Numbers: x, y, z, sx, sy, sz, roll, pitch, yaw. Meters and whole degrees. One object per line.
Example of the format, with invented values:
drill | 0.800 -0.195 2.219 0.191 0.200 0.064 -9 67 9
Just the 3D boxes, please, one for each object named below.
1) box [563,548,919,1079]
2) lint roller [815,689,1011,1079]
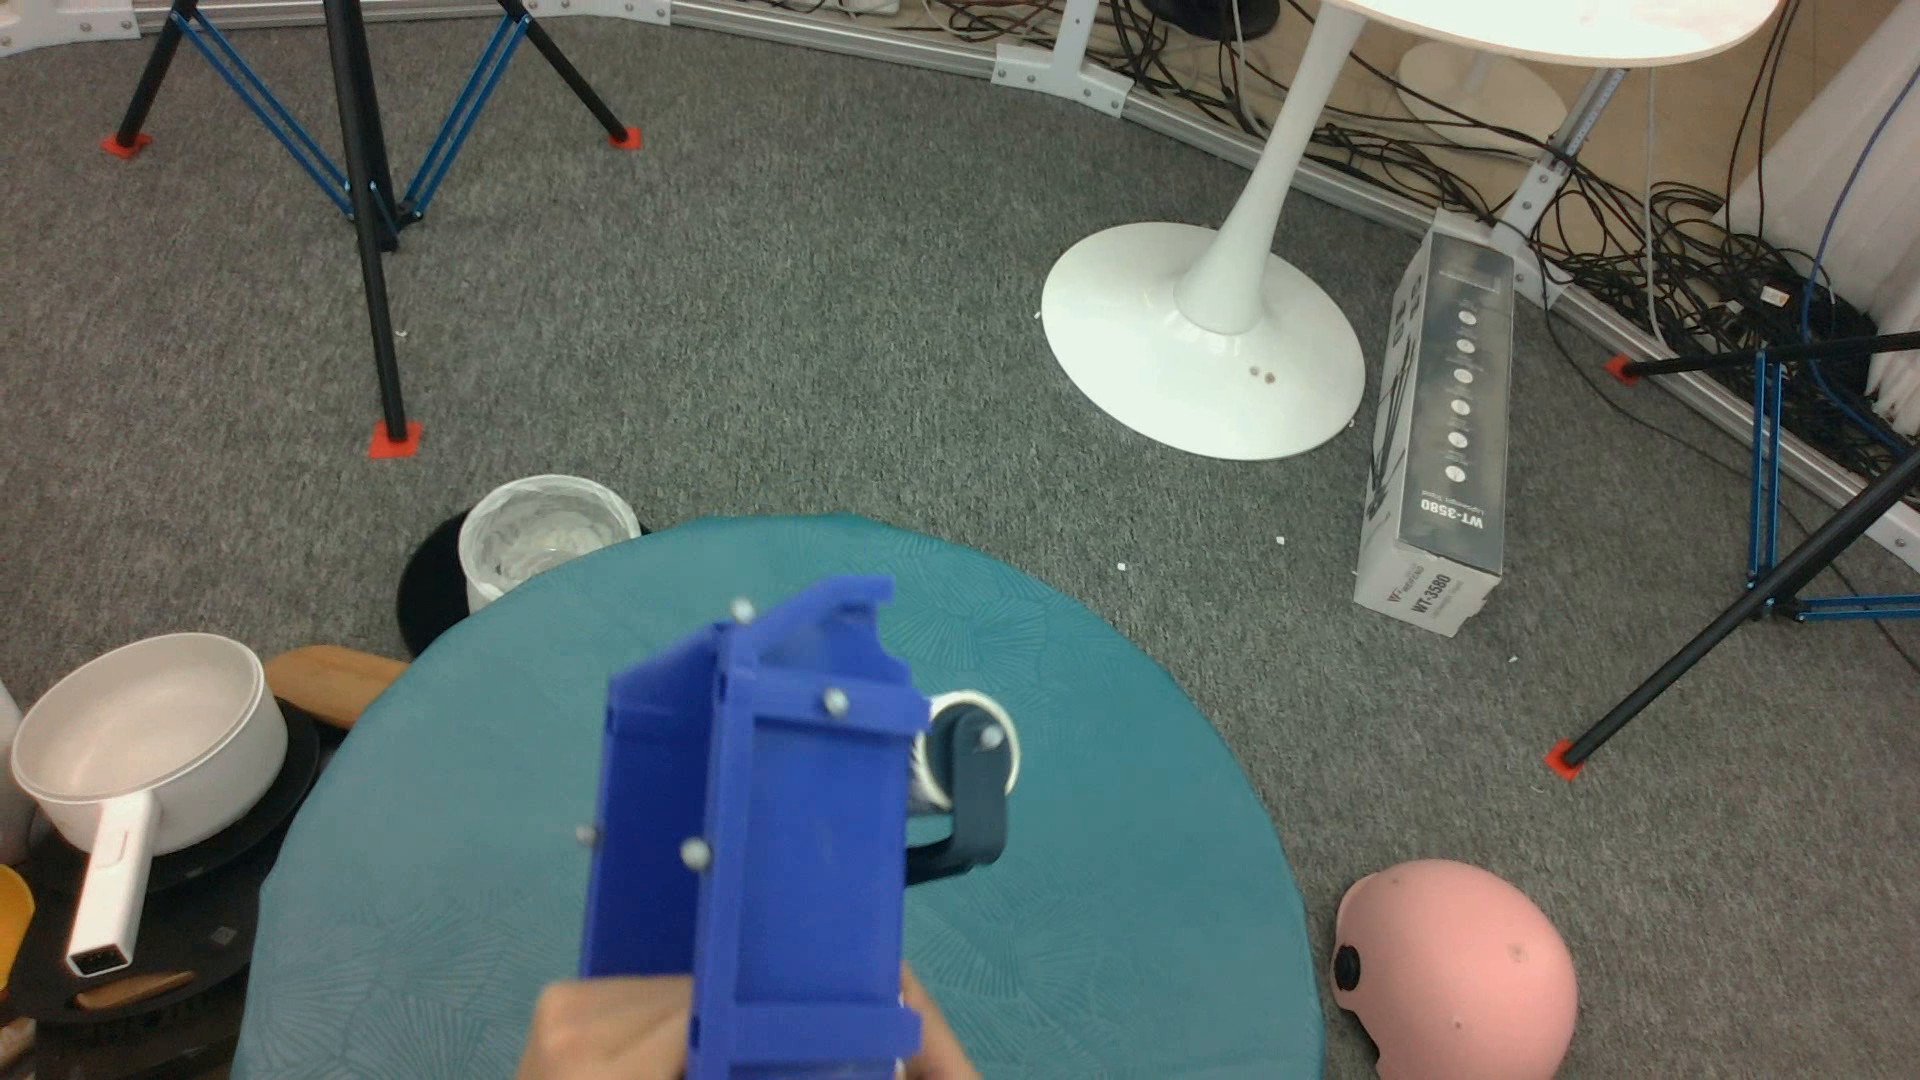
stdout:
box | -0.084 0.098 0.516 0.082 0.124 0.180 10 73 -33
lint roller | -0.042 0.191 0.560 0.050 0.175 0.247 5 77 -36
